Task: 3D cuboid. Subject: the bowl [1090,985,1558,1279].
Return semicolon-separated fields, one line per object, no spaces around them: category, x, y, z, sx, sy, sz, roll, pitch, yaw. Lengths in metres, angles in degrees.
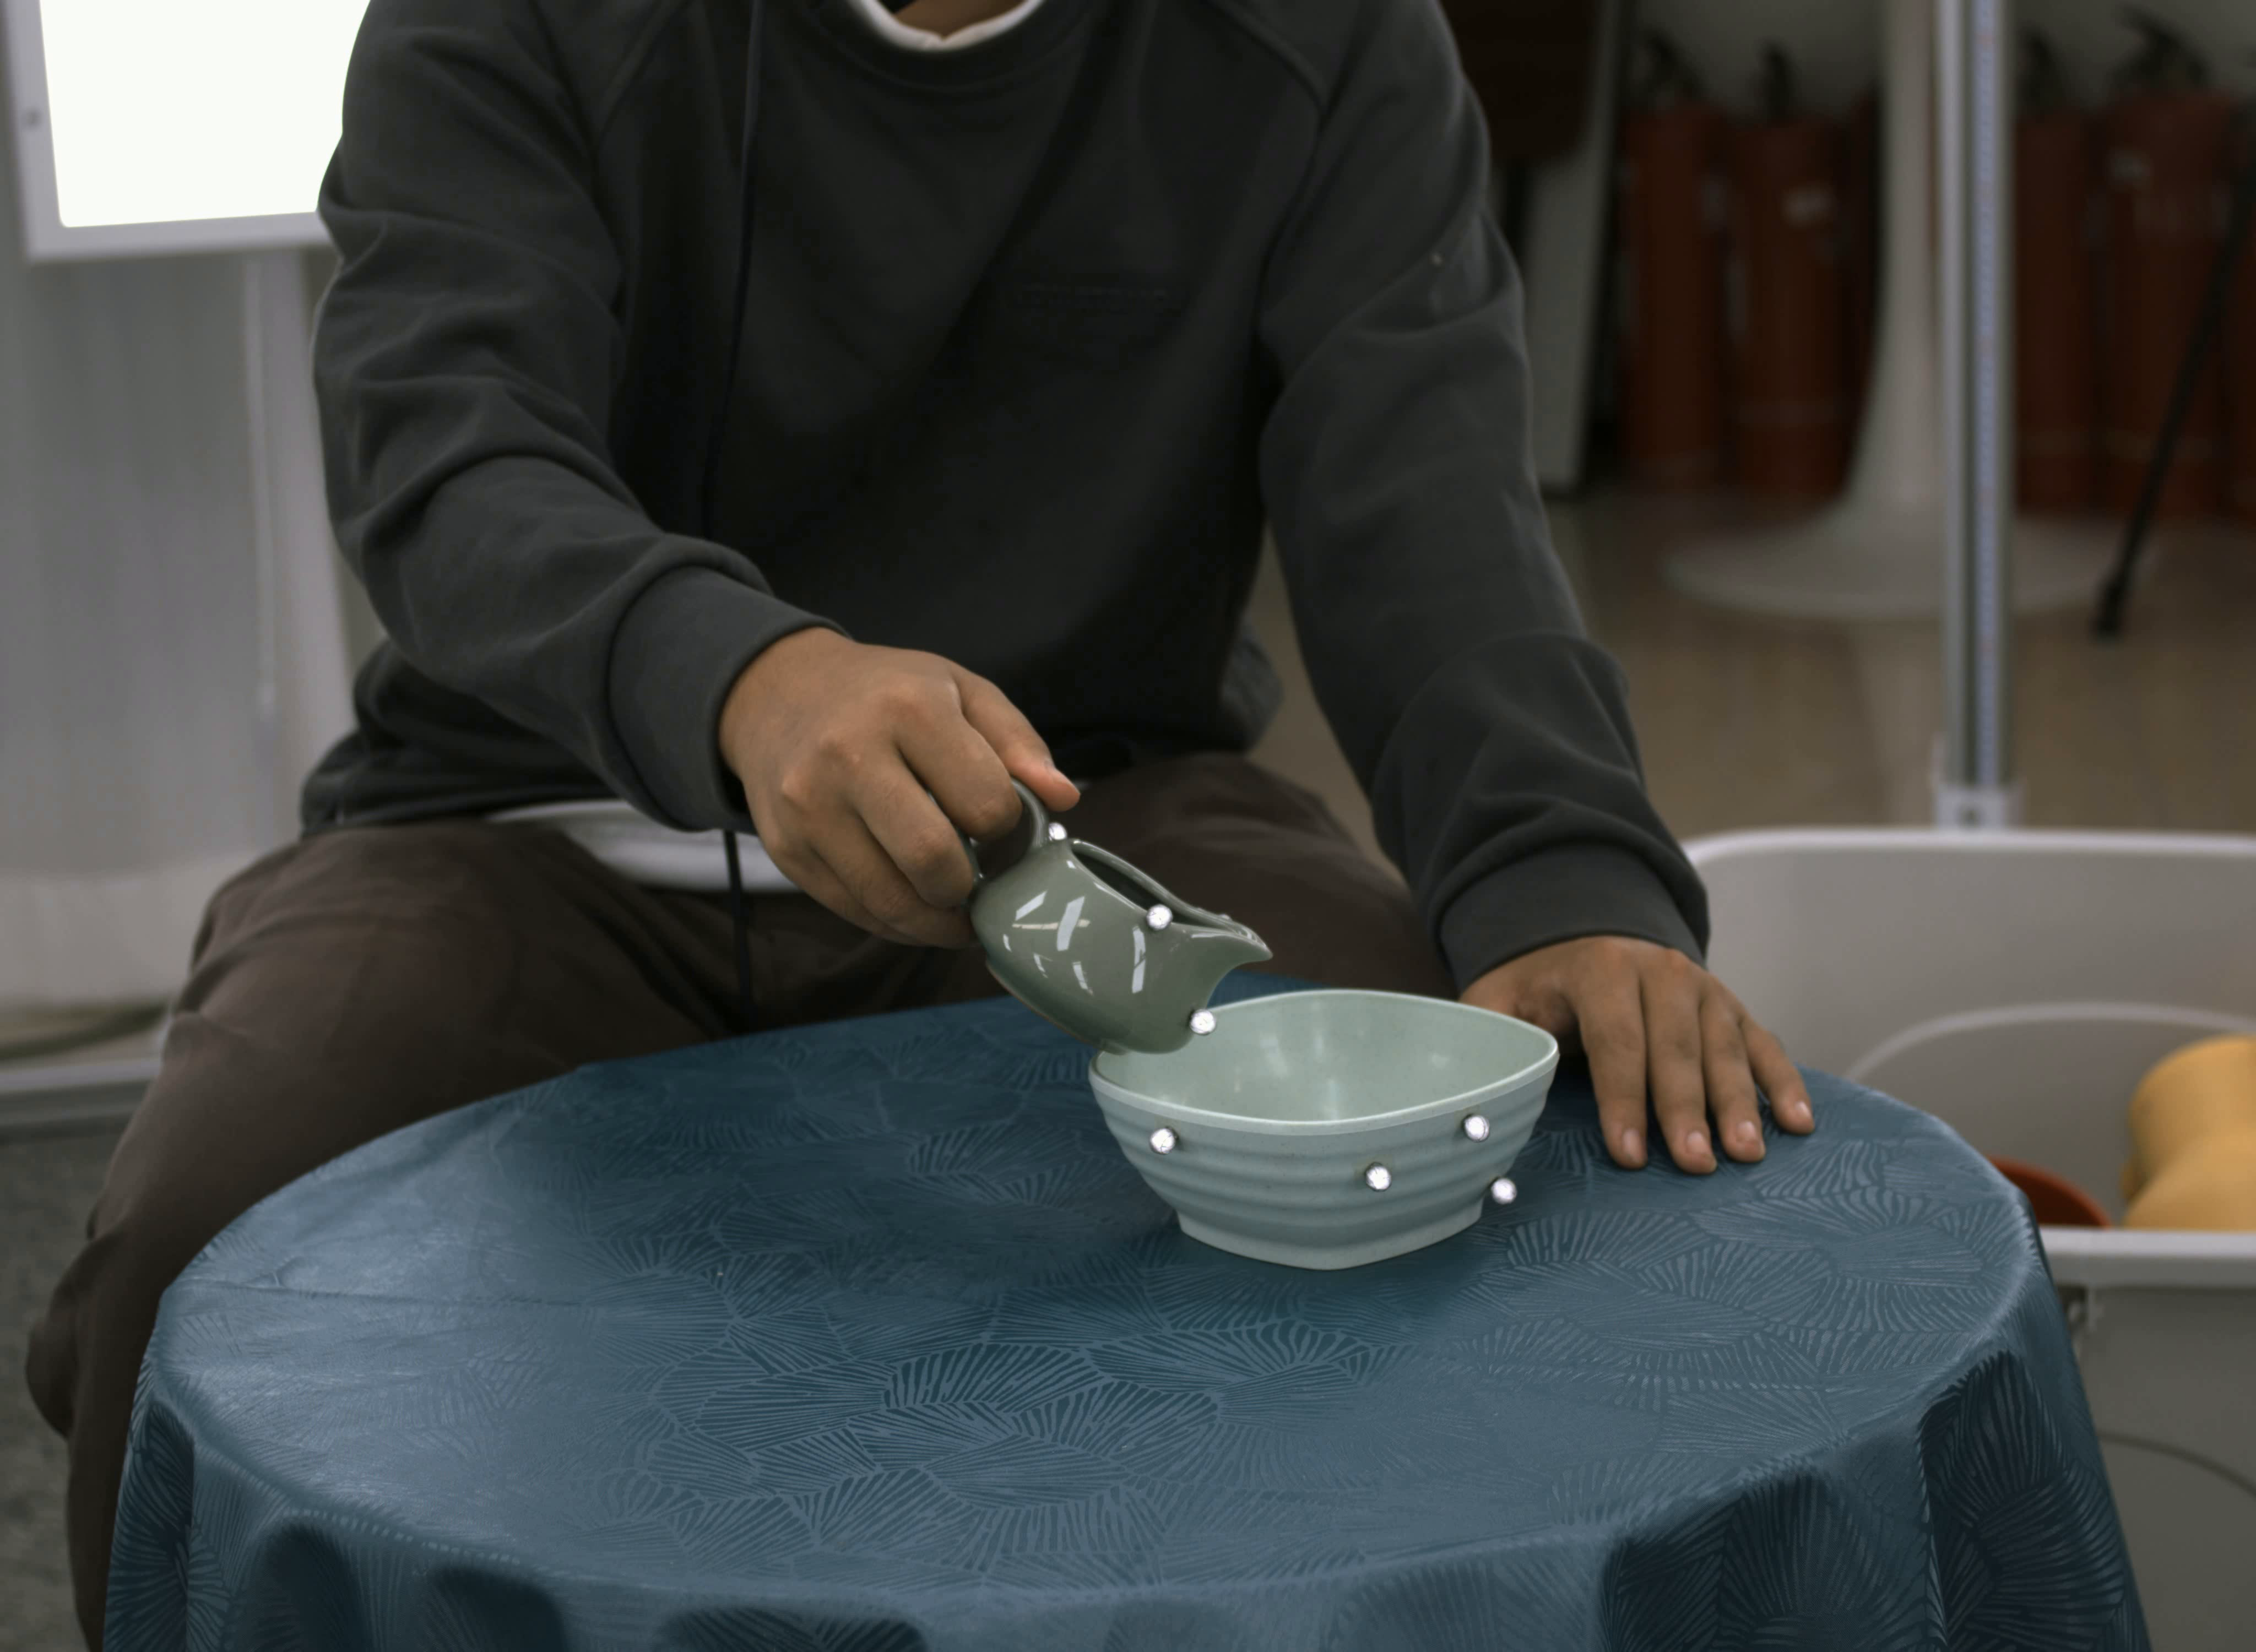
bowl;0.064;0.101;1.724;0.149;0.059;0.152;-3;15;0

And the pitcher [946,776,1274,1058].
pitcher;-0.014;0.032;1.712;0.112;0.056;0.084;31;9;1
